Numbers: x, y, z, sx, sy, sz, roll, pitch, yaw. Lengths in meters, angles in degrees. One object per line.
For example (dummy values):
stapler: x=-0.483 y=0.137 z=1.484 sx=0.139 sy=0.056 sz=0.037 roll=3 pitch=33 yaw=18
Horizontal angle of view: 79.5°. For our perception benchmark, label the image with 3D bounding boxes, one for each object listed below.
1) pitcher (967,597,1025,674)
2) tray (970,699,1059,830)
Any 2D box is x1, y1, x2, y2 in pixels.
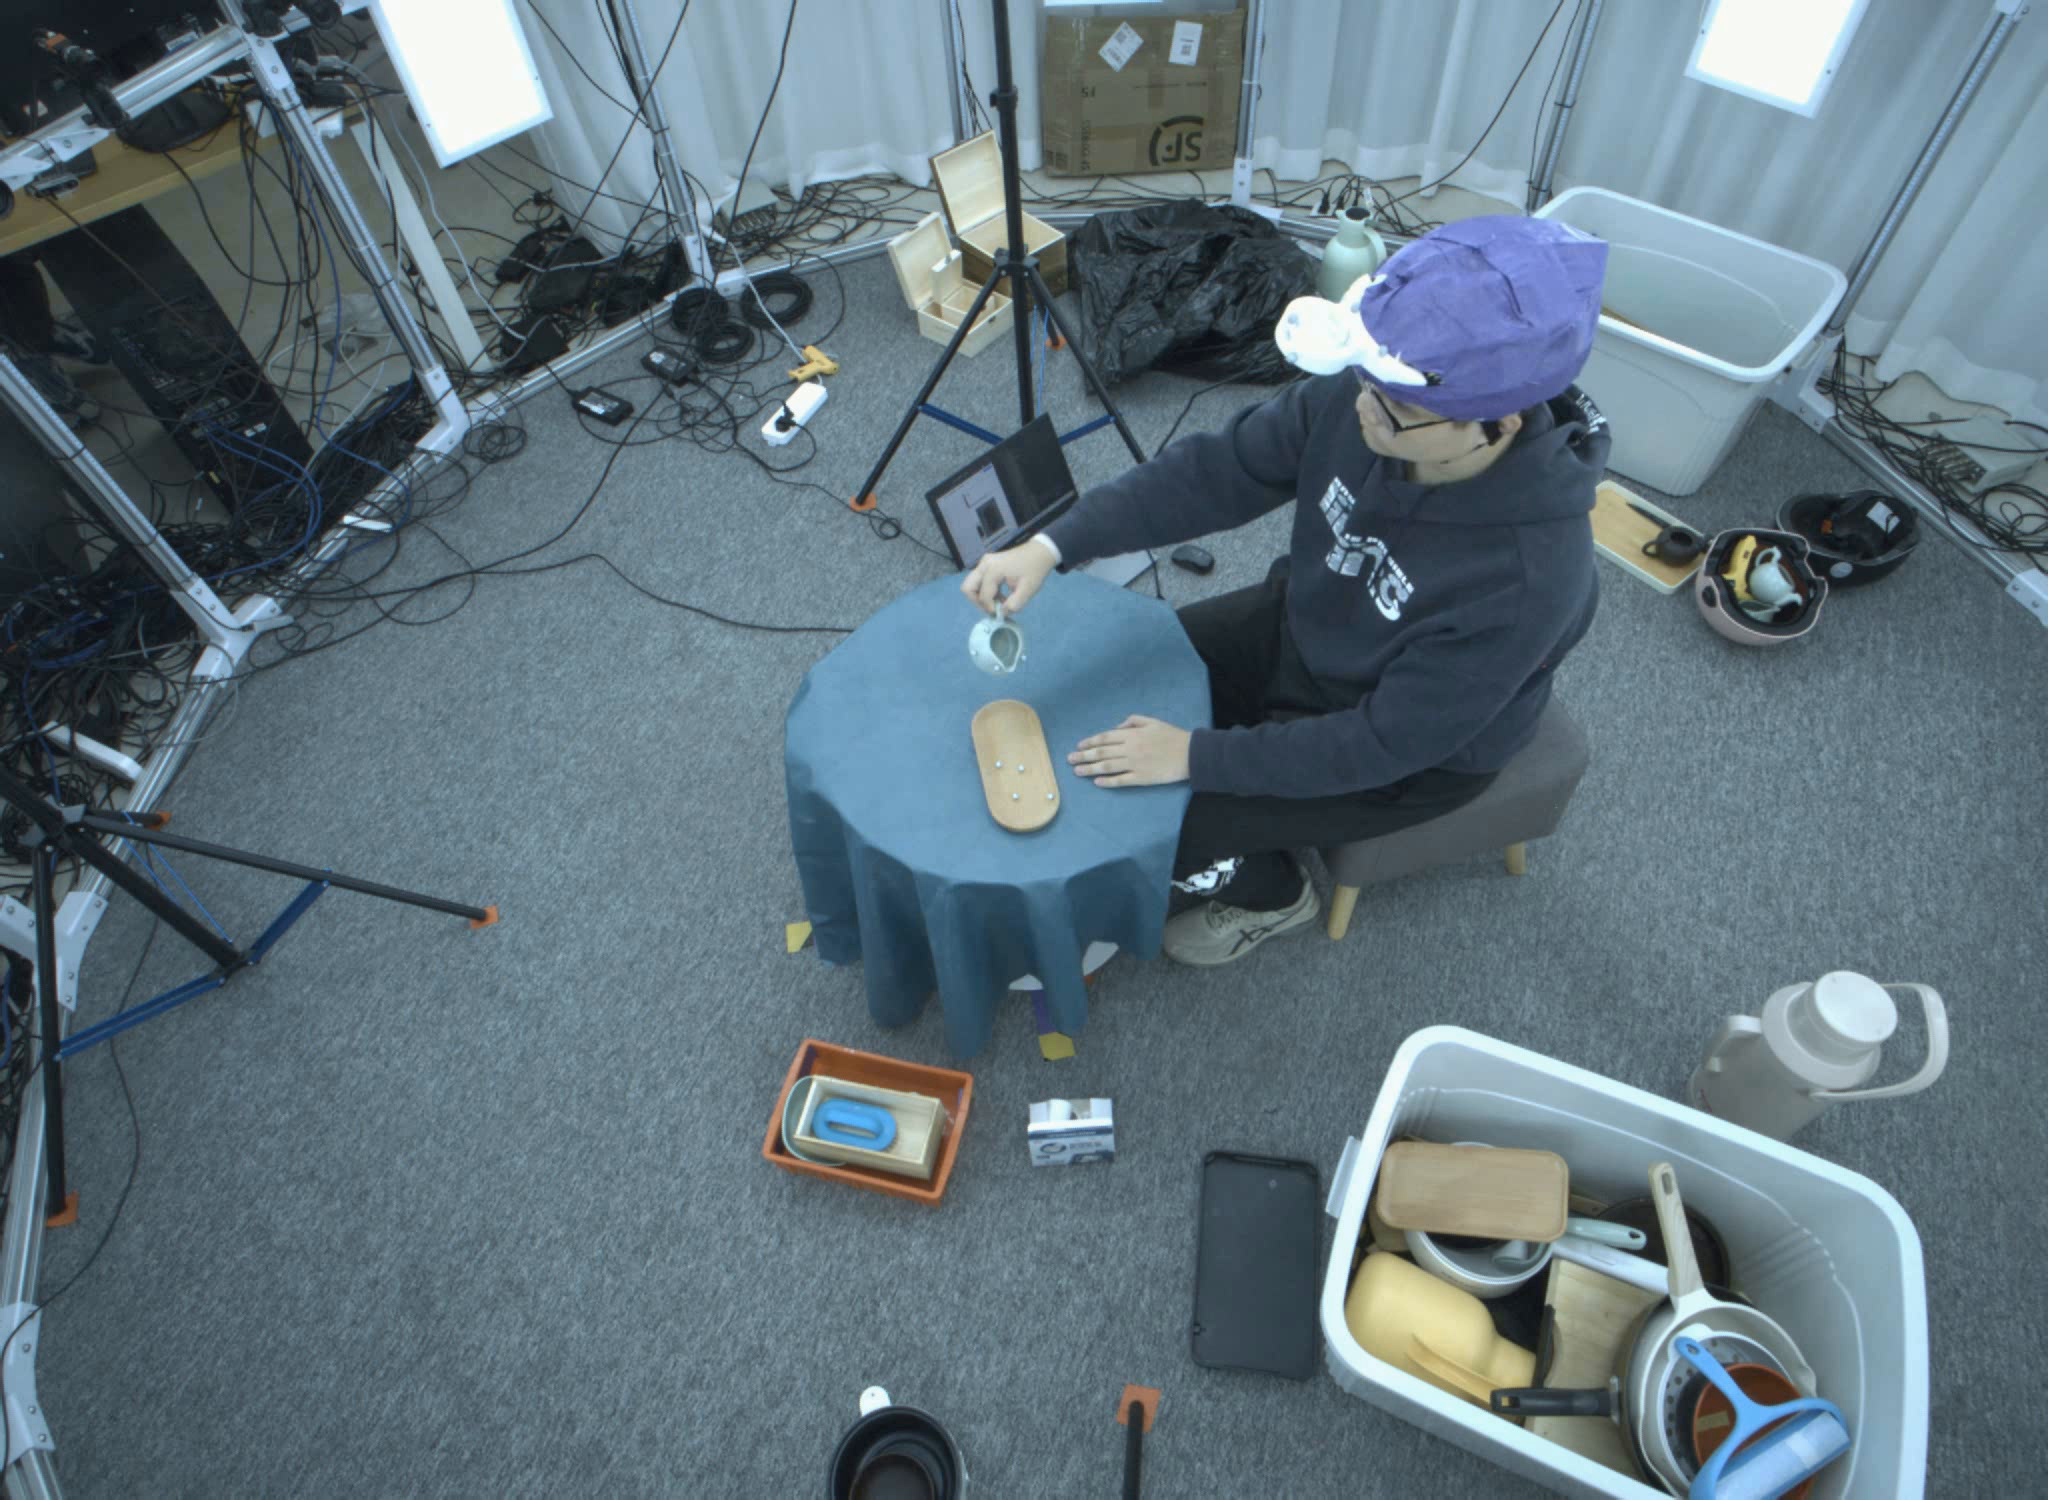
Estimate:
pitcher: x=-0.039 y=-0.161 z=1.726 sx=0.087 sy=0.059 sz=0.108 roll=-15 pitch=97 yaw=-21
tray: x=-0.014 y=0.018 z=1.766 sx=0.102 sy=0.020 sz=0.227 roll=-10 pitch=53 yaw=-7
